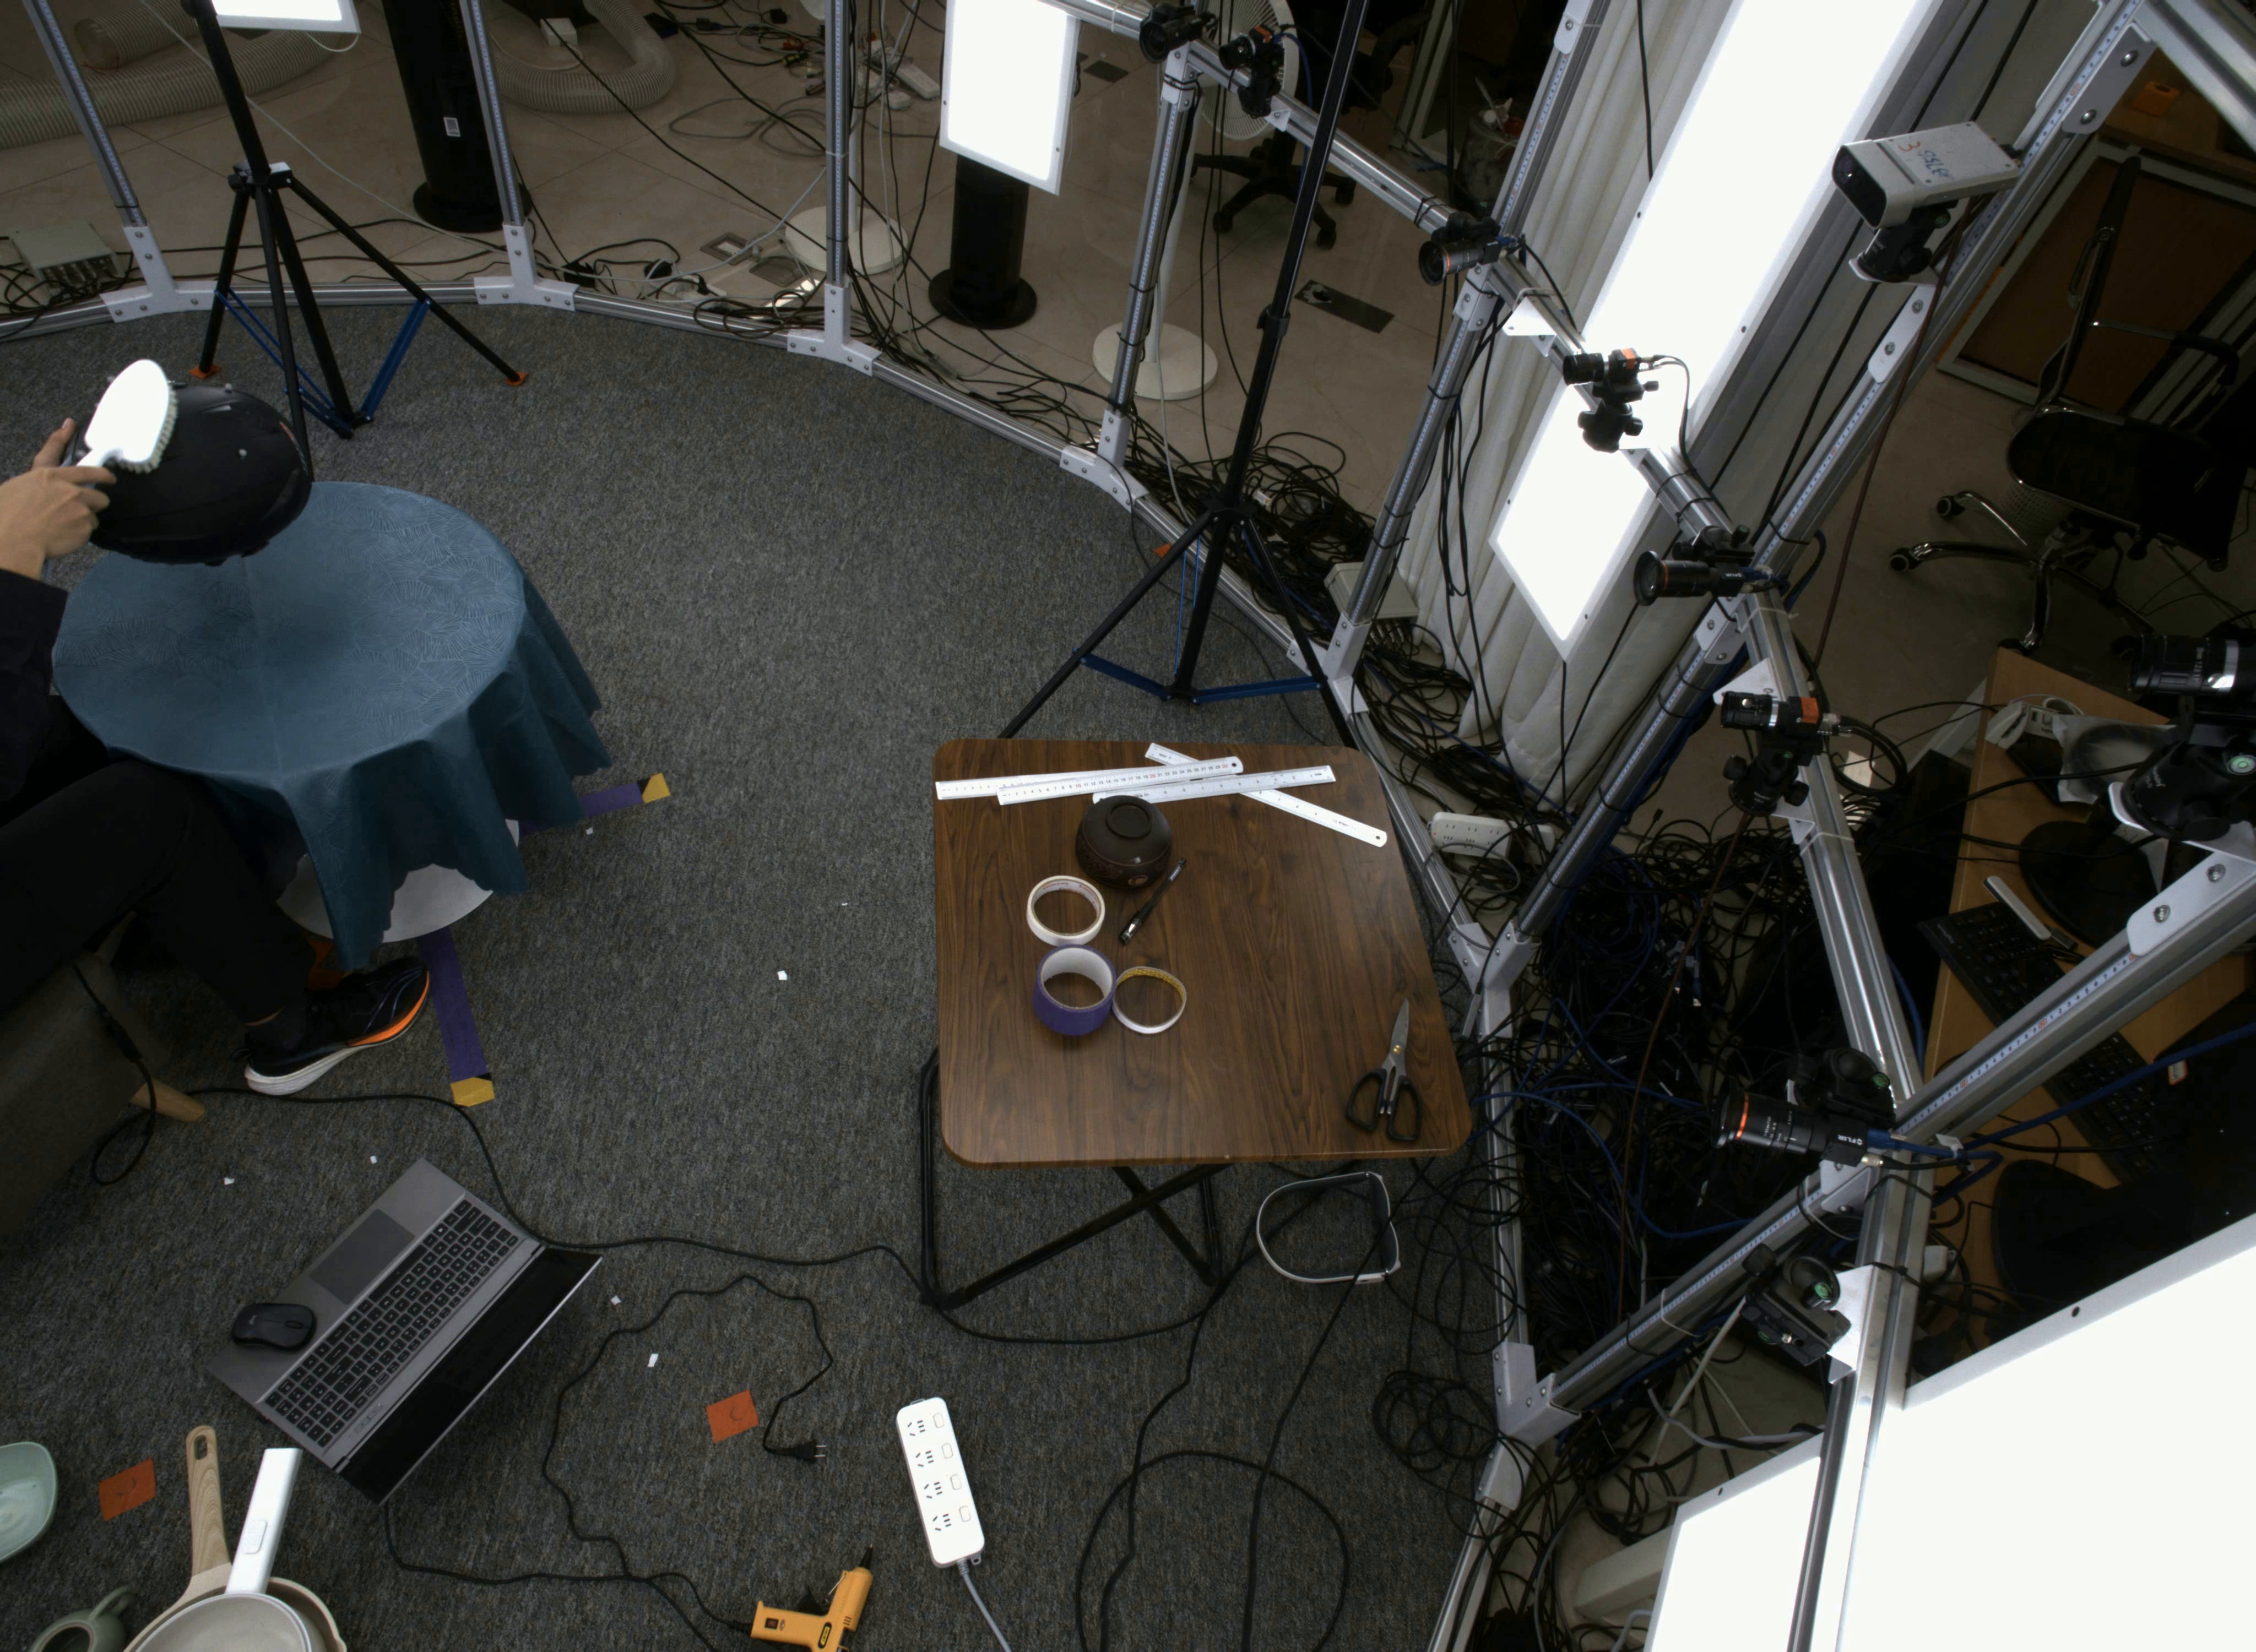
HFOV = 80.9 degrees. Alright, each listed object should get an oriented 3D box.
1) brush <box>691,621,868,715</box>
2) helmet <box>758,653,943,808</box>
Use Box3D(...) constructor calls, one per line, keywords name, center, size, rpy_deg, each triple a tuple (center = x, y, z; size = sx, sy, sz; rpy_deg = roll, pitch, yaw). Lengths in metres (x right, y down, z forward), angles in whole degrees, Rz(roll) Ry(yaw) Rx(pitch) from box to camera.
Box3D(name="brush", center=(-0.497, -0.206, 1.849), size=(0.080, 0.087, 0.326), rpy_deg=(-2, 25, 40))
Box3D(name="helmet", center=(-0.422, -0.158, 1.985), size=(0.276, 0.248, 0.172), rpy_deg=(2, -8, -9))
